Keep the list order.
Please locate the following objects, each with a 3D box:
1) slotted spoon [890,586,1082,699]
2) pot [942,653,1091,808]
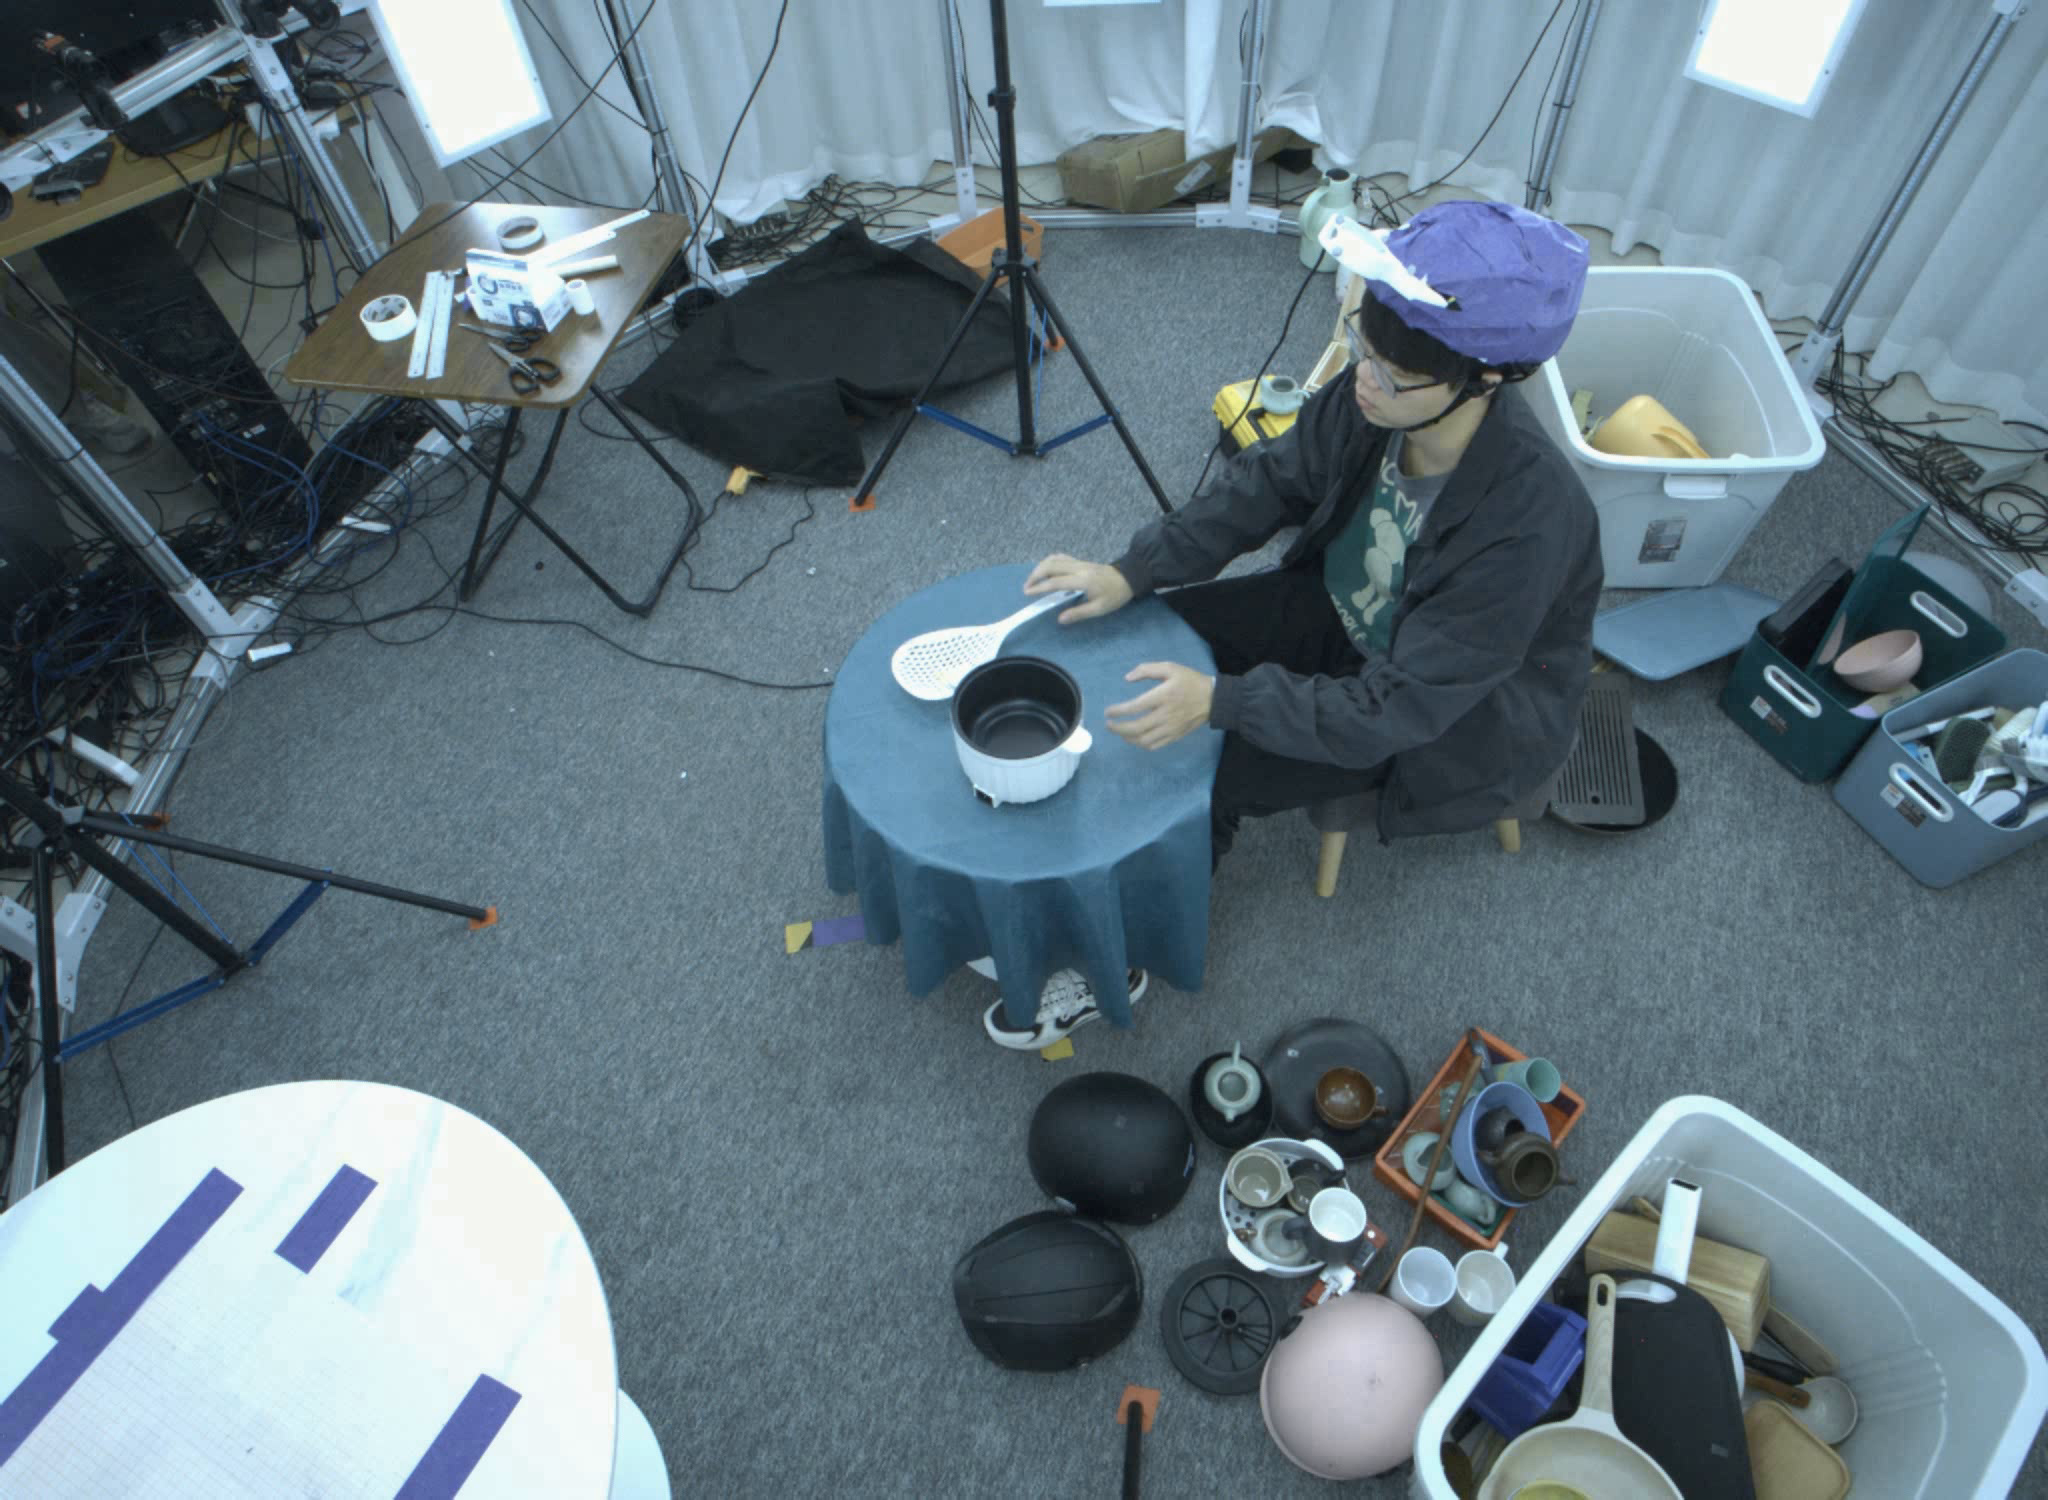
[{"bbox_3d":[-0.043,-0.176,1.880,0.350,0.051,0.134,-34,58,-20],"label":"slotted spoon"},{"bbox_3d":[-0.006,-0.027,1.713,0.237,0.144,0.191,30,64,20],"label":"pot"}]
